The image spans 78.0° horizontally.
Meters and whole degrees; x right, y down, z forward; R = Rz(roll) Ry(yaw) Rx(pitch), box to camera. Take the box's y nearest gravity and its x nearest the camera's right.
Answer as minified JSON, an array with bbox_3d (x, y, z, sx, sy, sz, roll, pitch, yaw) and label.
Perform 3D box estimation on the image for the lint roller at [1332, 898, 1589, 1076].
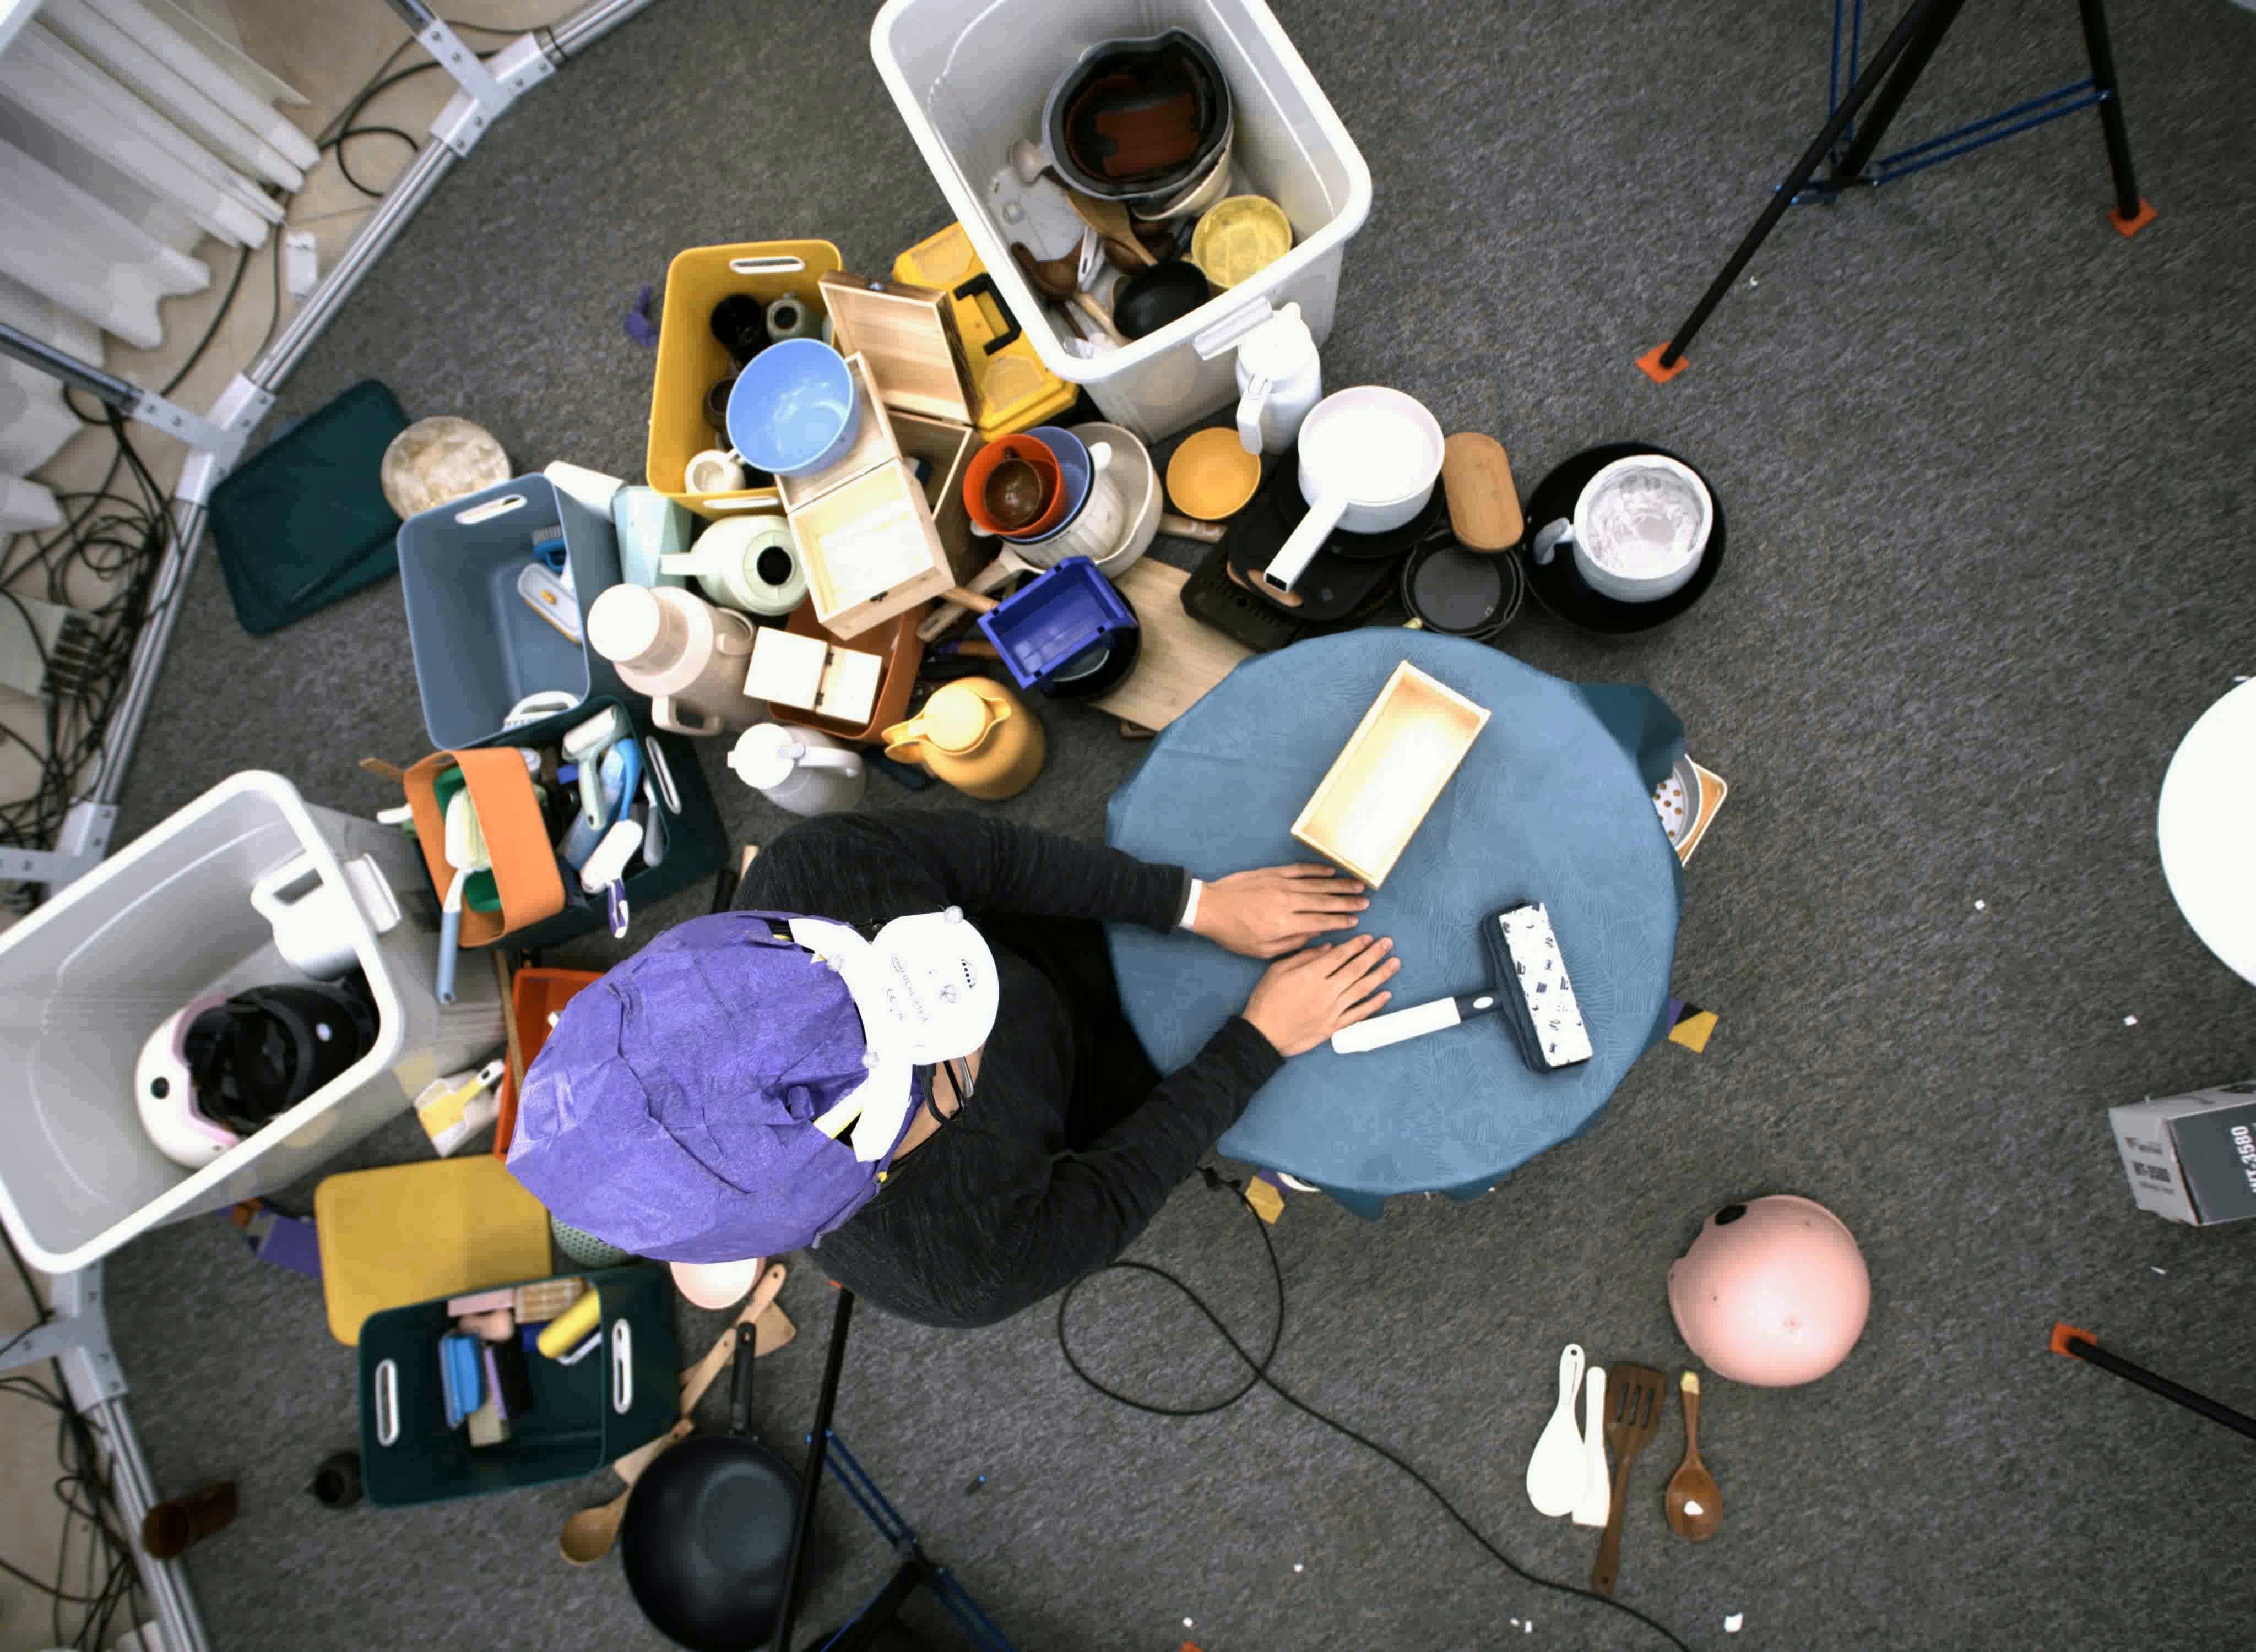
[{"bbox_3d":[0.330,0.191,1.420,0.248,0.050,0.175,-18,84,10],"label":"lint roller"}]

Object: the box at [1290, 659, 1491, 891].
[{"bbox_3d":[0.271,-0.052,1.426,0.107,0.080,0.212,33,93,11],"label":"box"}]
